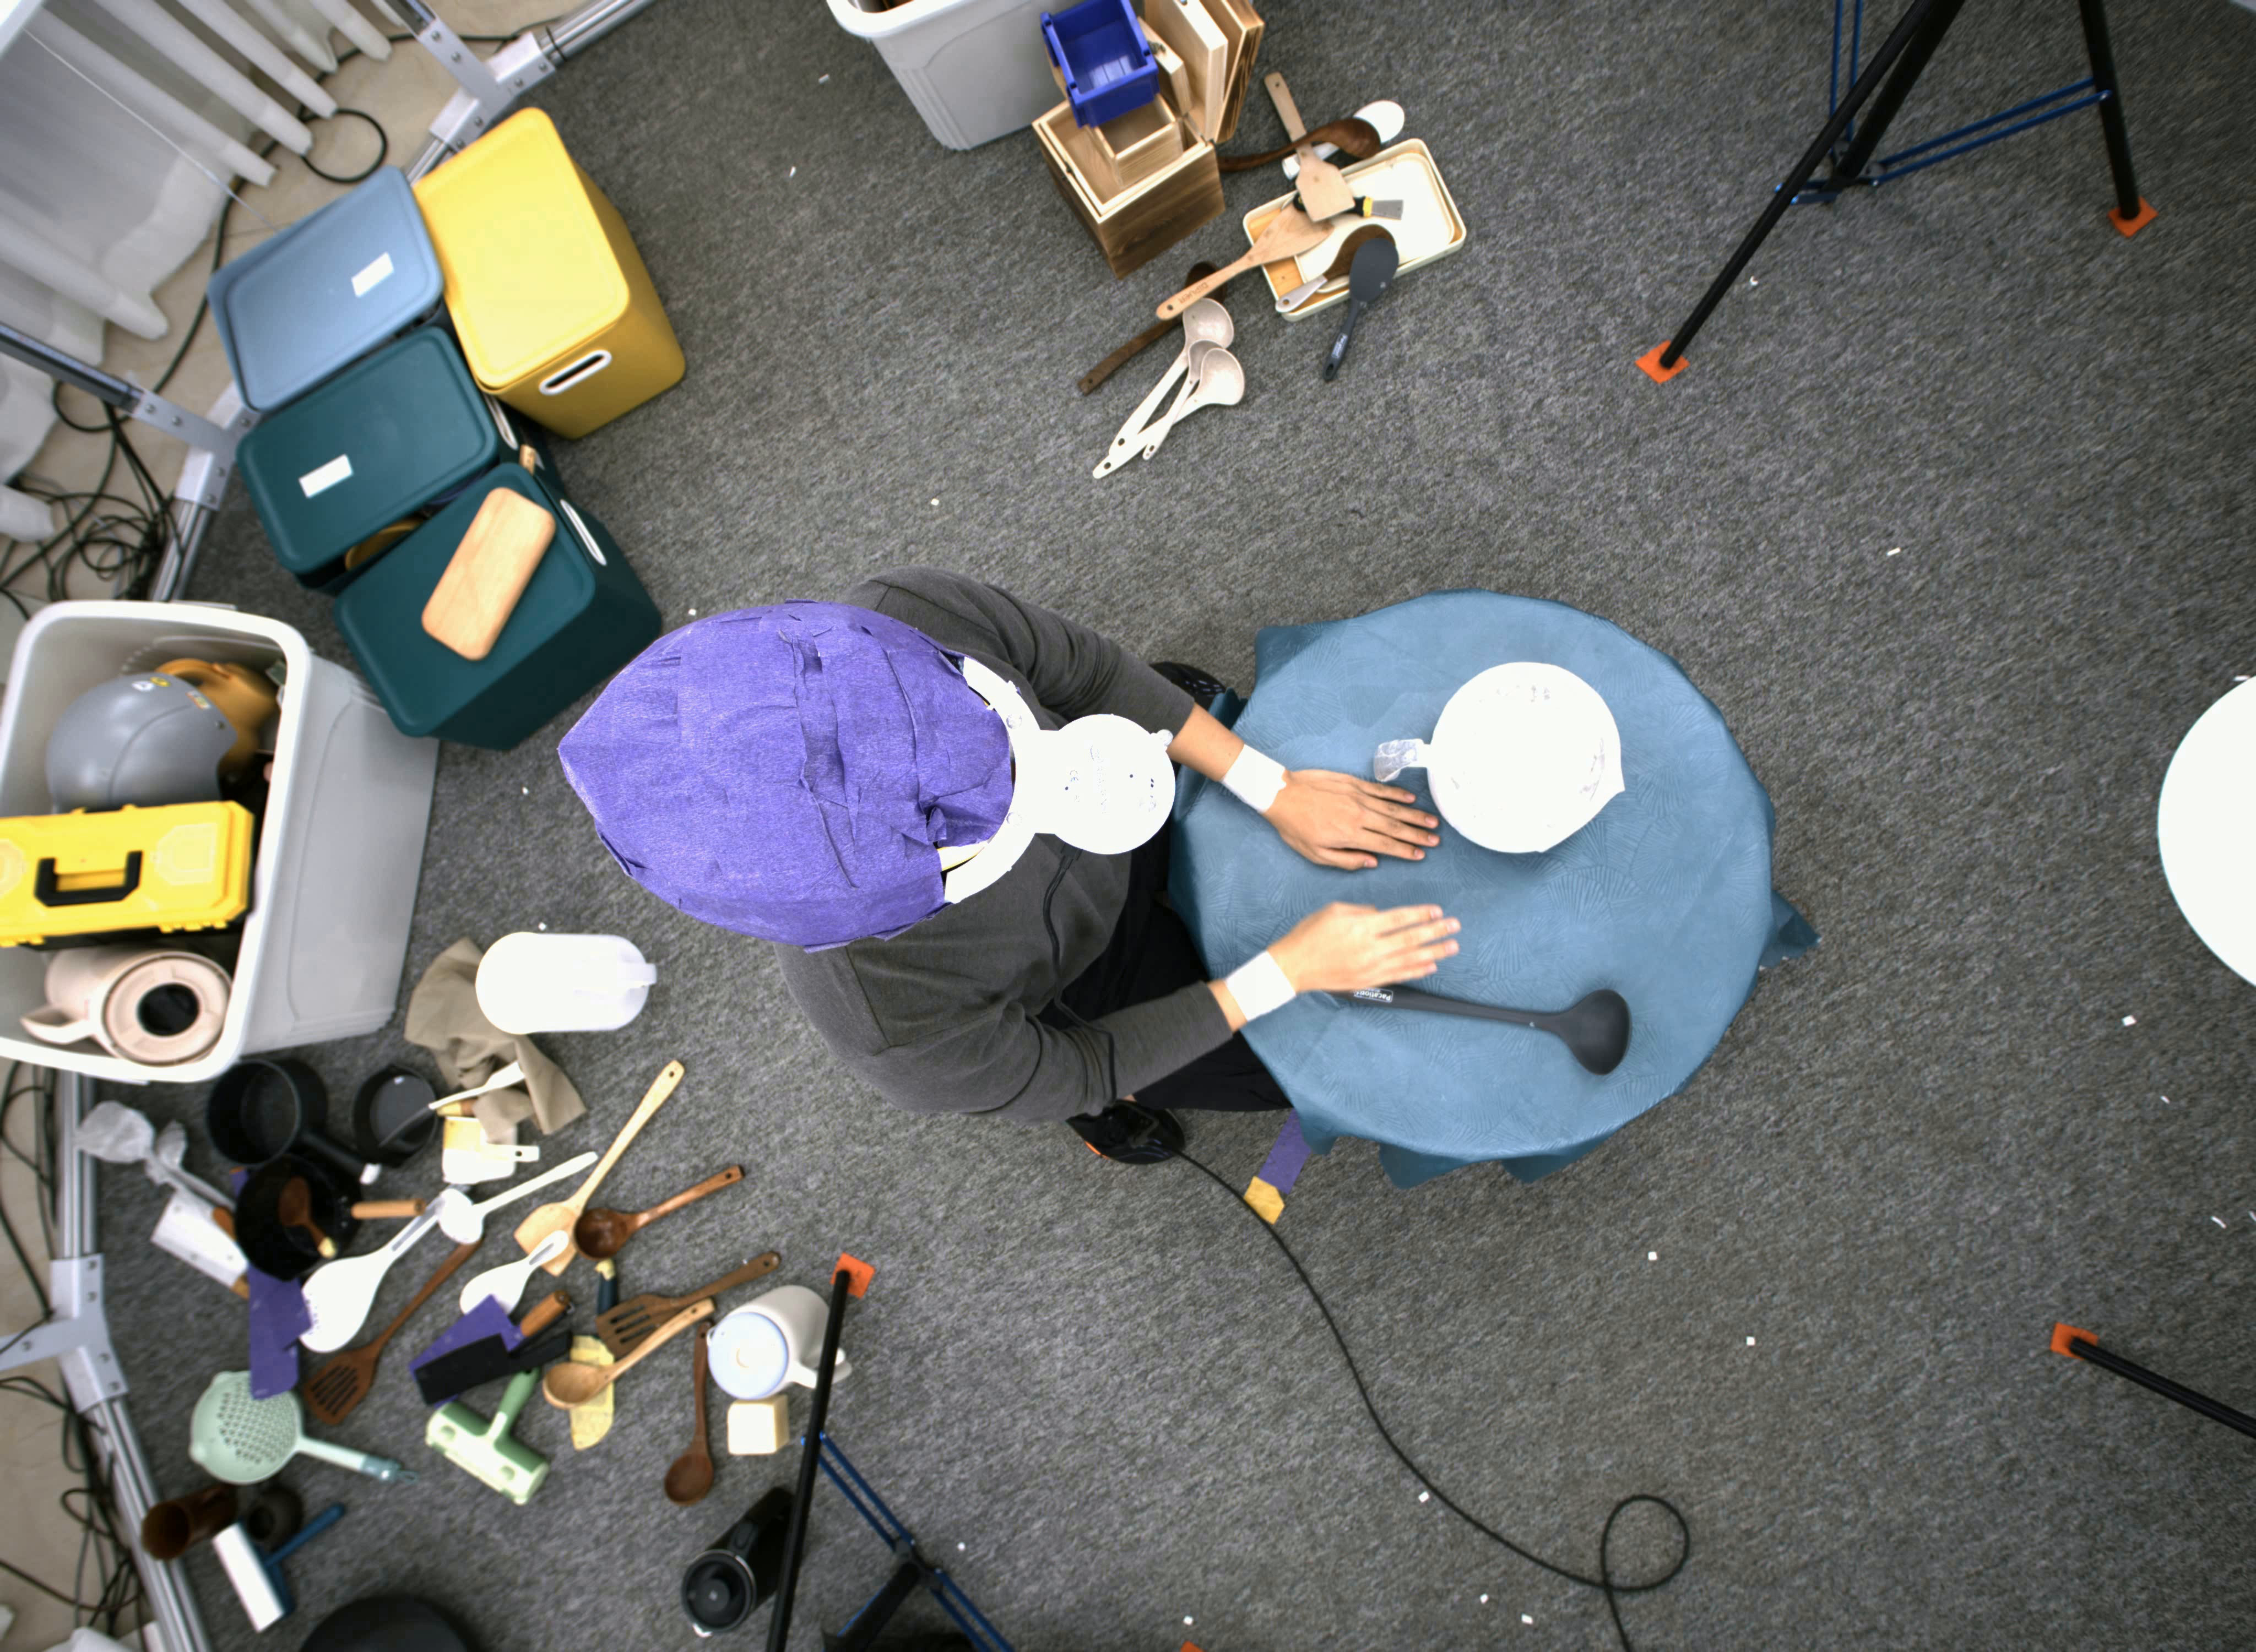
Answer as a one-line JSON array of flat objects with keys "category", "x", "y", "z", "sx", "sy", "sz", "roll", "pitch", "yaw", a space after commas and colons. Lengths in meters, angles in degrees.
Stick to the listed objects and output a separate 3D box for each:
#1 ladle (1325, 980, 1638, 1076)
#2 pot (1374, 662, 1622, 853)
[{"category": "ladle", "x": 0.356, "y": 0.187, "z": 1.406, "sx": 0.315, "sy": 0.064, "sz": 0.085, "roll": 8, "pitch": 84, "yaw": 11}, {"category": "pot", "x": 0.365, "y": -0.067, "z": 1.381, "sx": 0.234, "sy": 0.137, "sz": 0.178, "roll": 1, "pitch": 86, "yaw": 11}]
